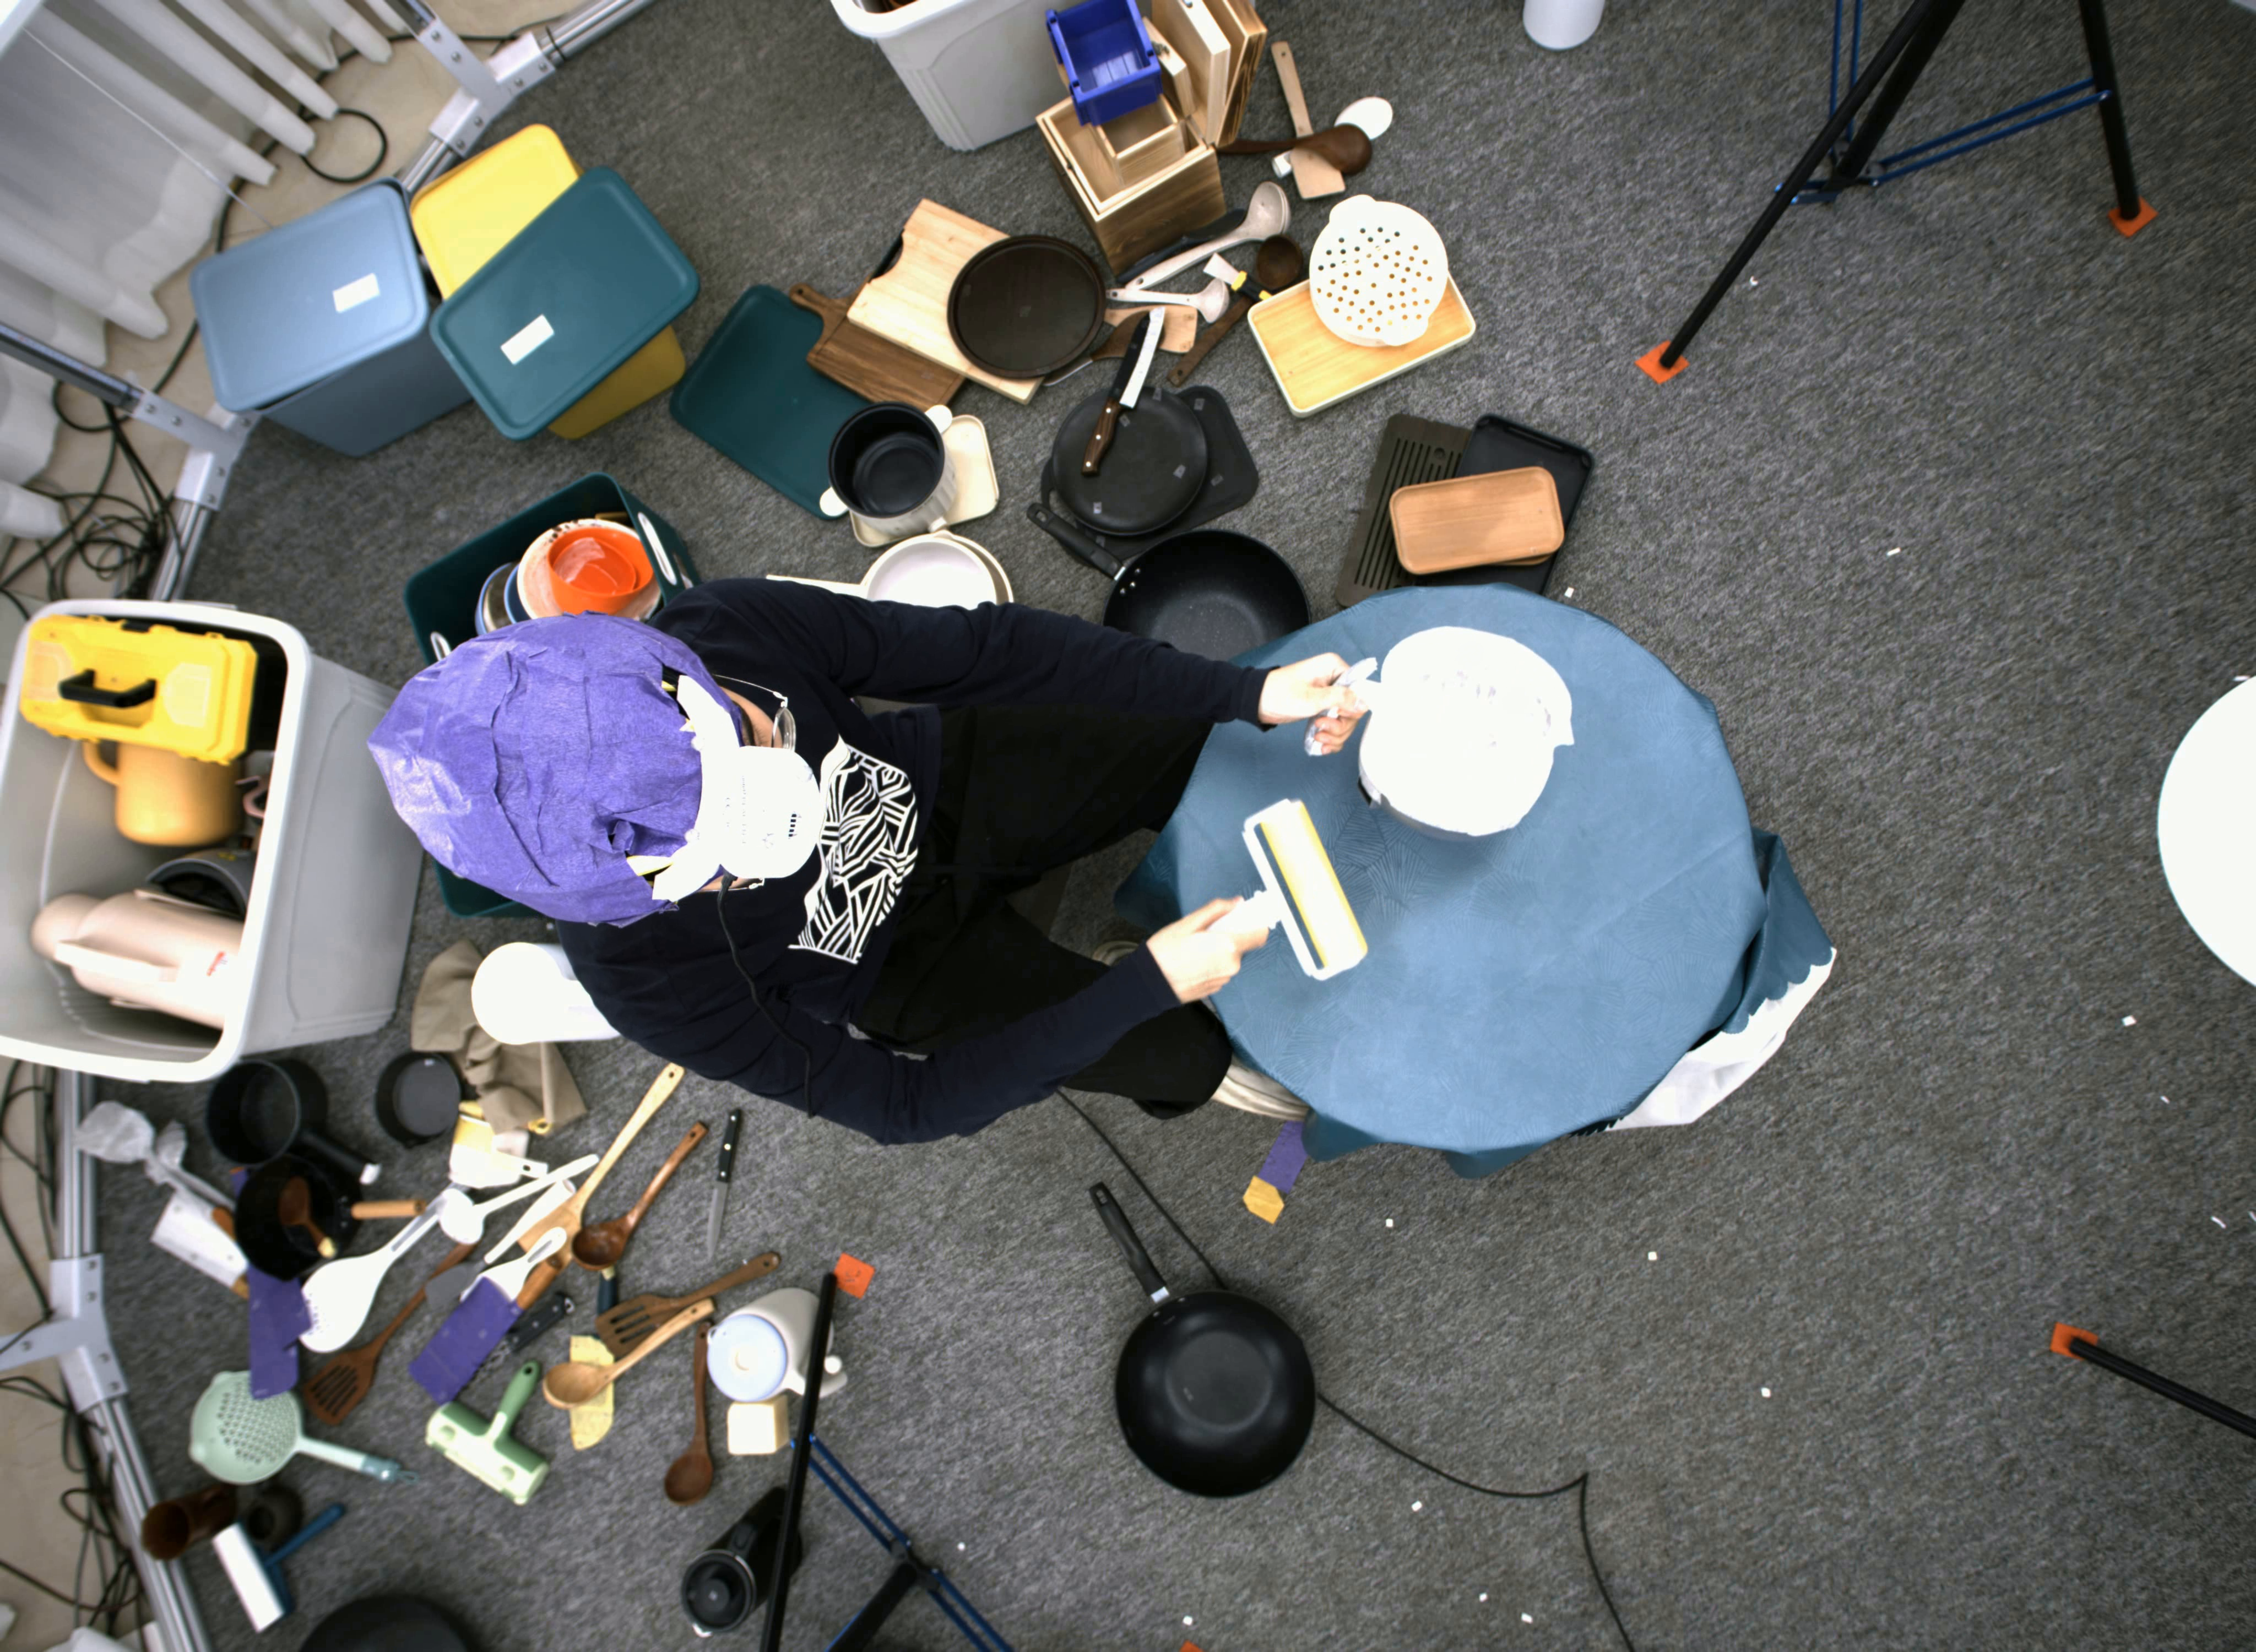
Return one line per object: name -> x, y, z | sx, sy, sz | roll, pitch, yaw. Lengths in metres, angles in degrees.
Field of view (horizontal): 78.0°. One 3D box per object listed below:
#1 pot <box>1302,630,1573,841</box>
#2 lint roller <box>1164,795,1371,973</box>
pot -> 0.288, -0.091, 1.310 | 0.234, 0.174, 0.140 | 14, 134, 4
lint roller -> 0.122, 0.086, 1.335 | 0.190, 0.051, 0.175 | -31, 100, -17
